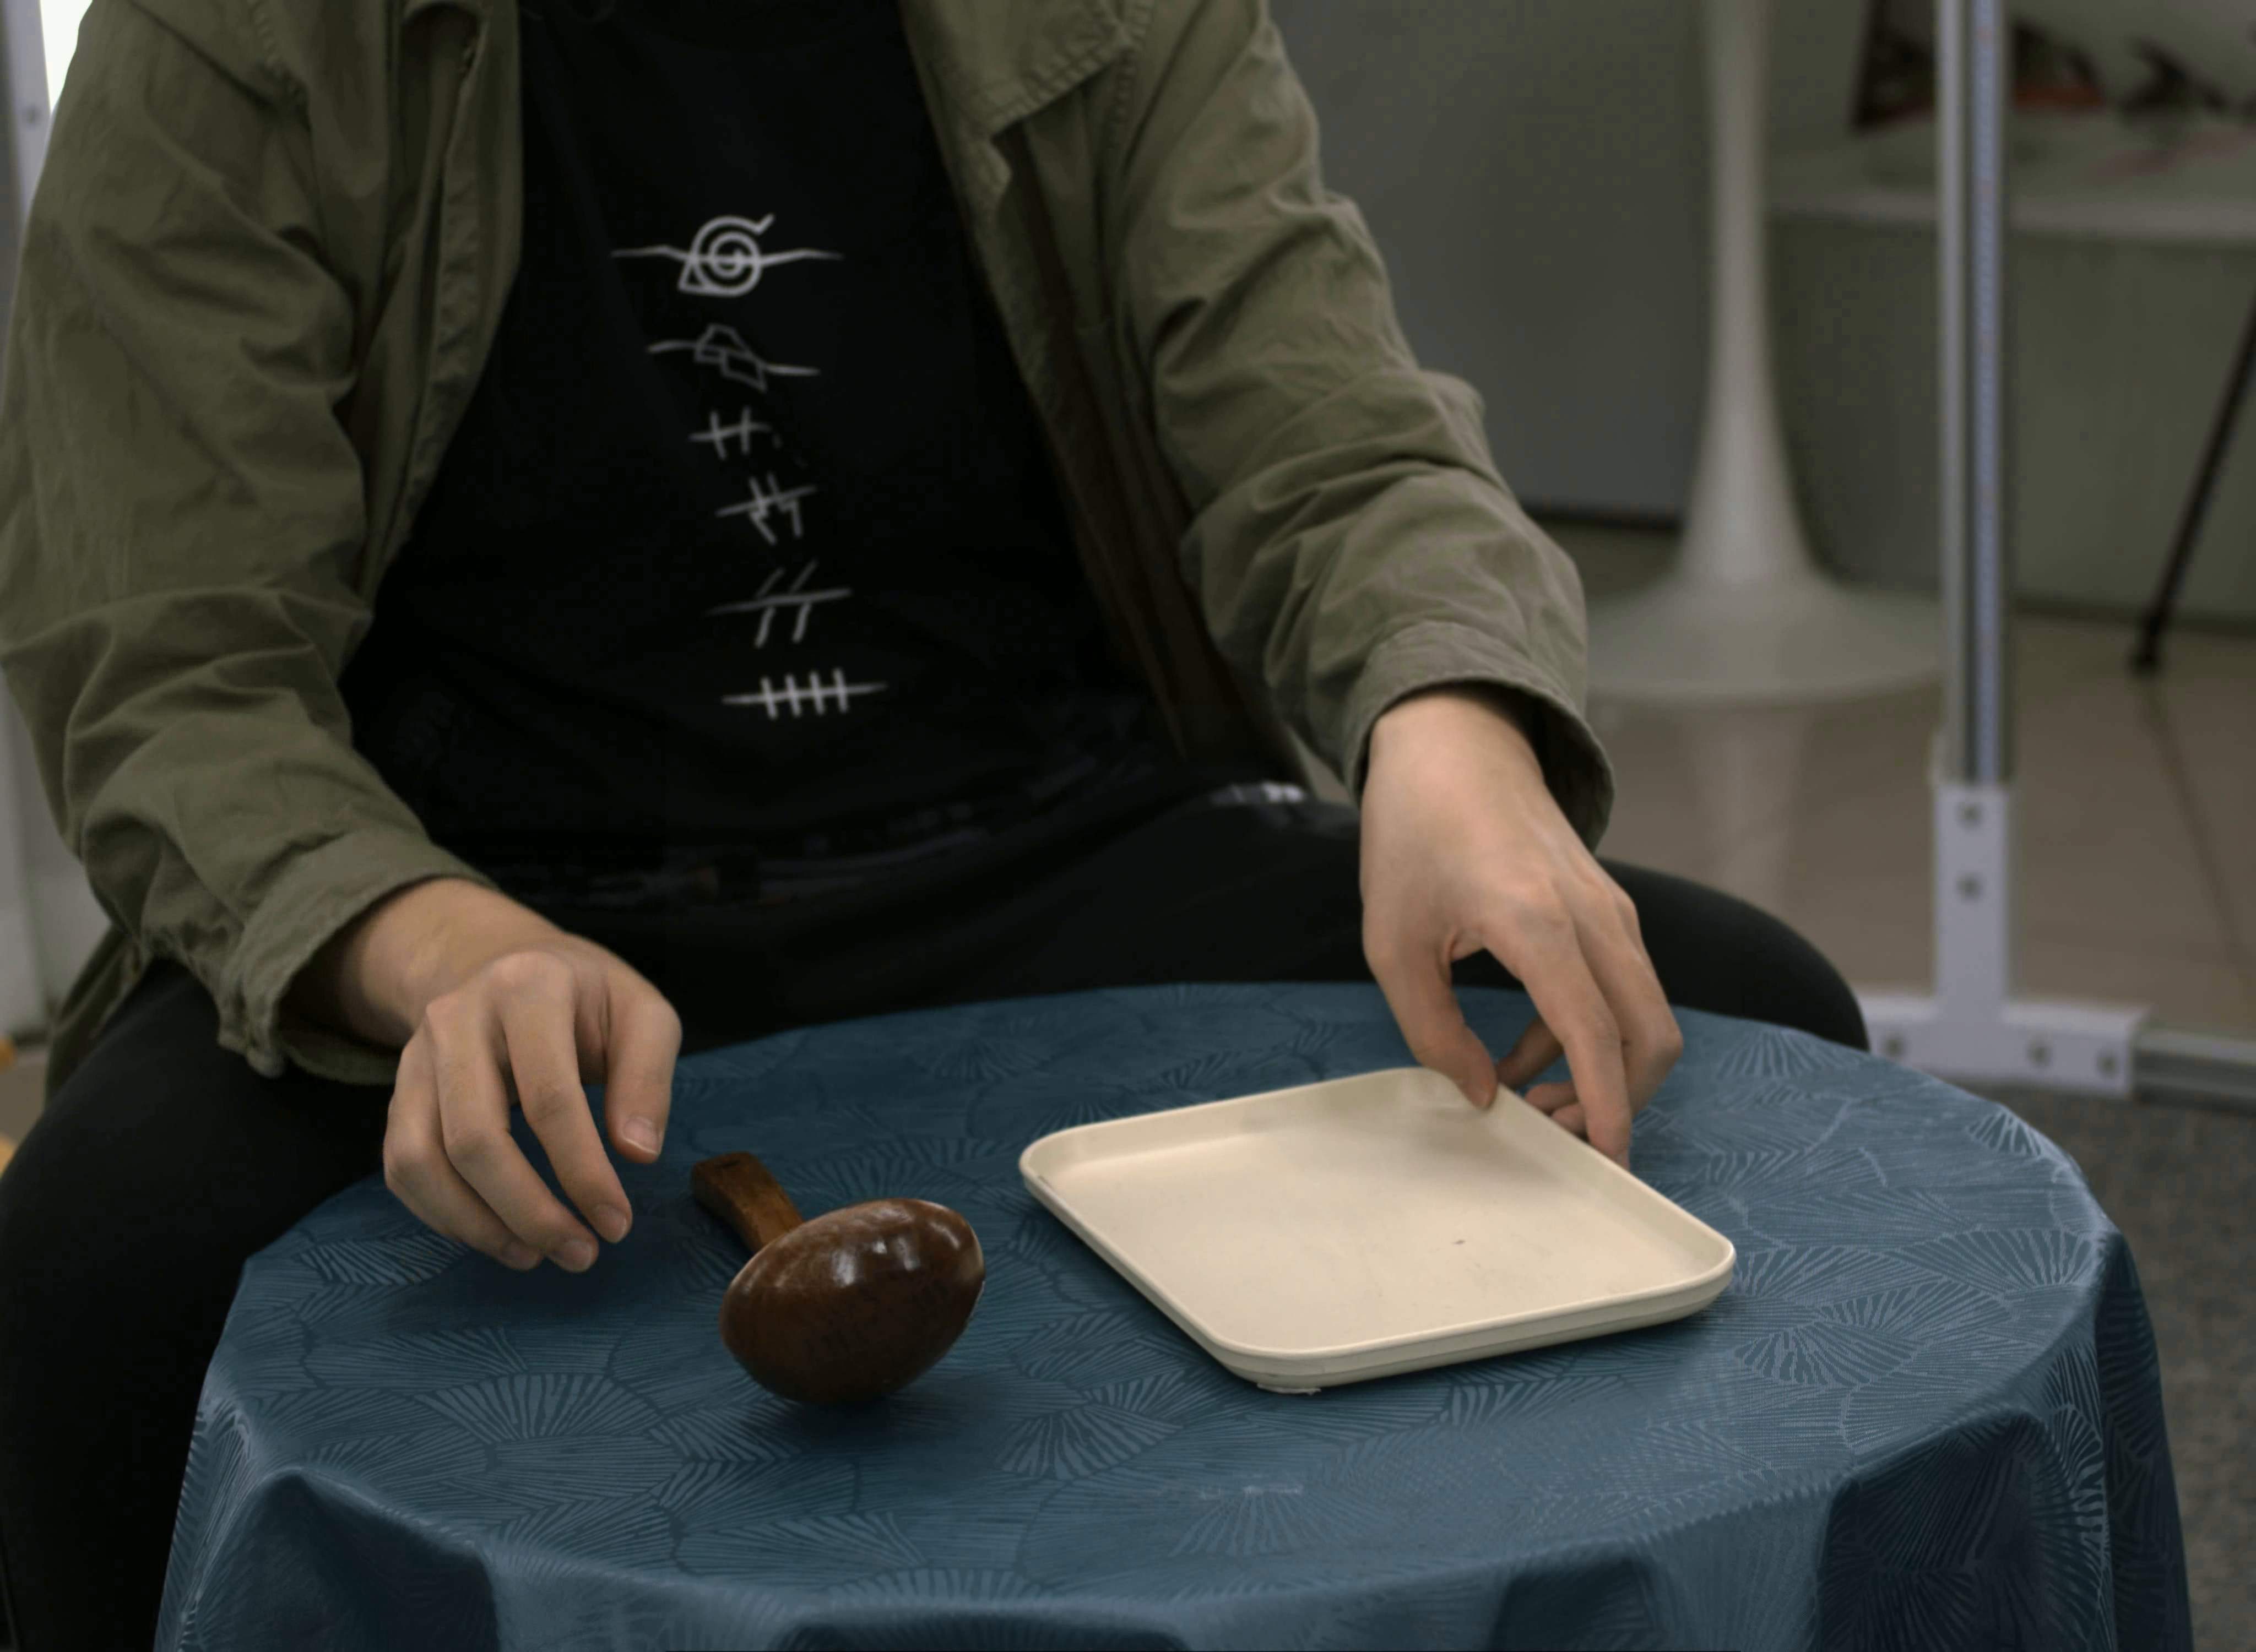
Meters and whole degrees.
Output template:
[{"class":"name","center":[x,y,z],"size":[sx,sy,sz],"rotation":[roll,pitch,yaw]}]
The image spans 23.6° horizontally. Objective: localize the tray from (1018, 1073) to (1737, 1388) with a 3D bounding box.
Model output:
[{"class":"tray","center":[0.074,0.125,1.687],"size":[0.168,0.017,0.242],"rotation":[-9,15,-17]}]

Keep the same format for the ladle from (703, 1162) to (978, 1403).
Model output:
[{"class":"ladle","center":[-0.104,0.116,1.662],"size":[0.080,0.077,0.276],"rotation":[-11,14,-10]}]
